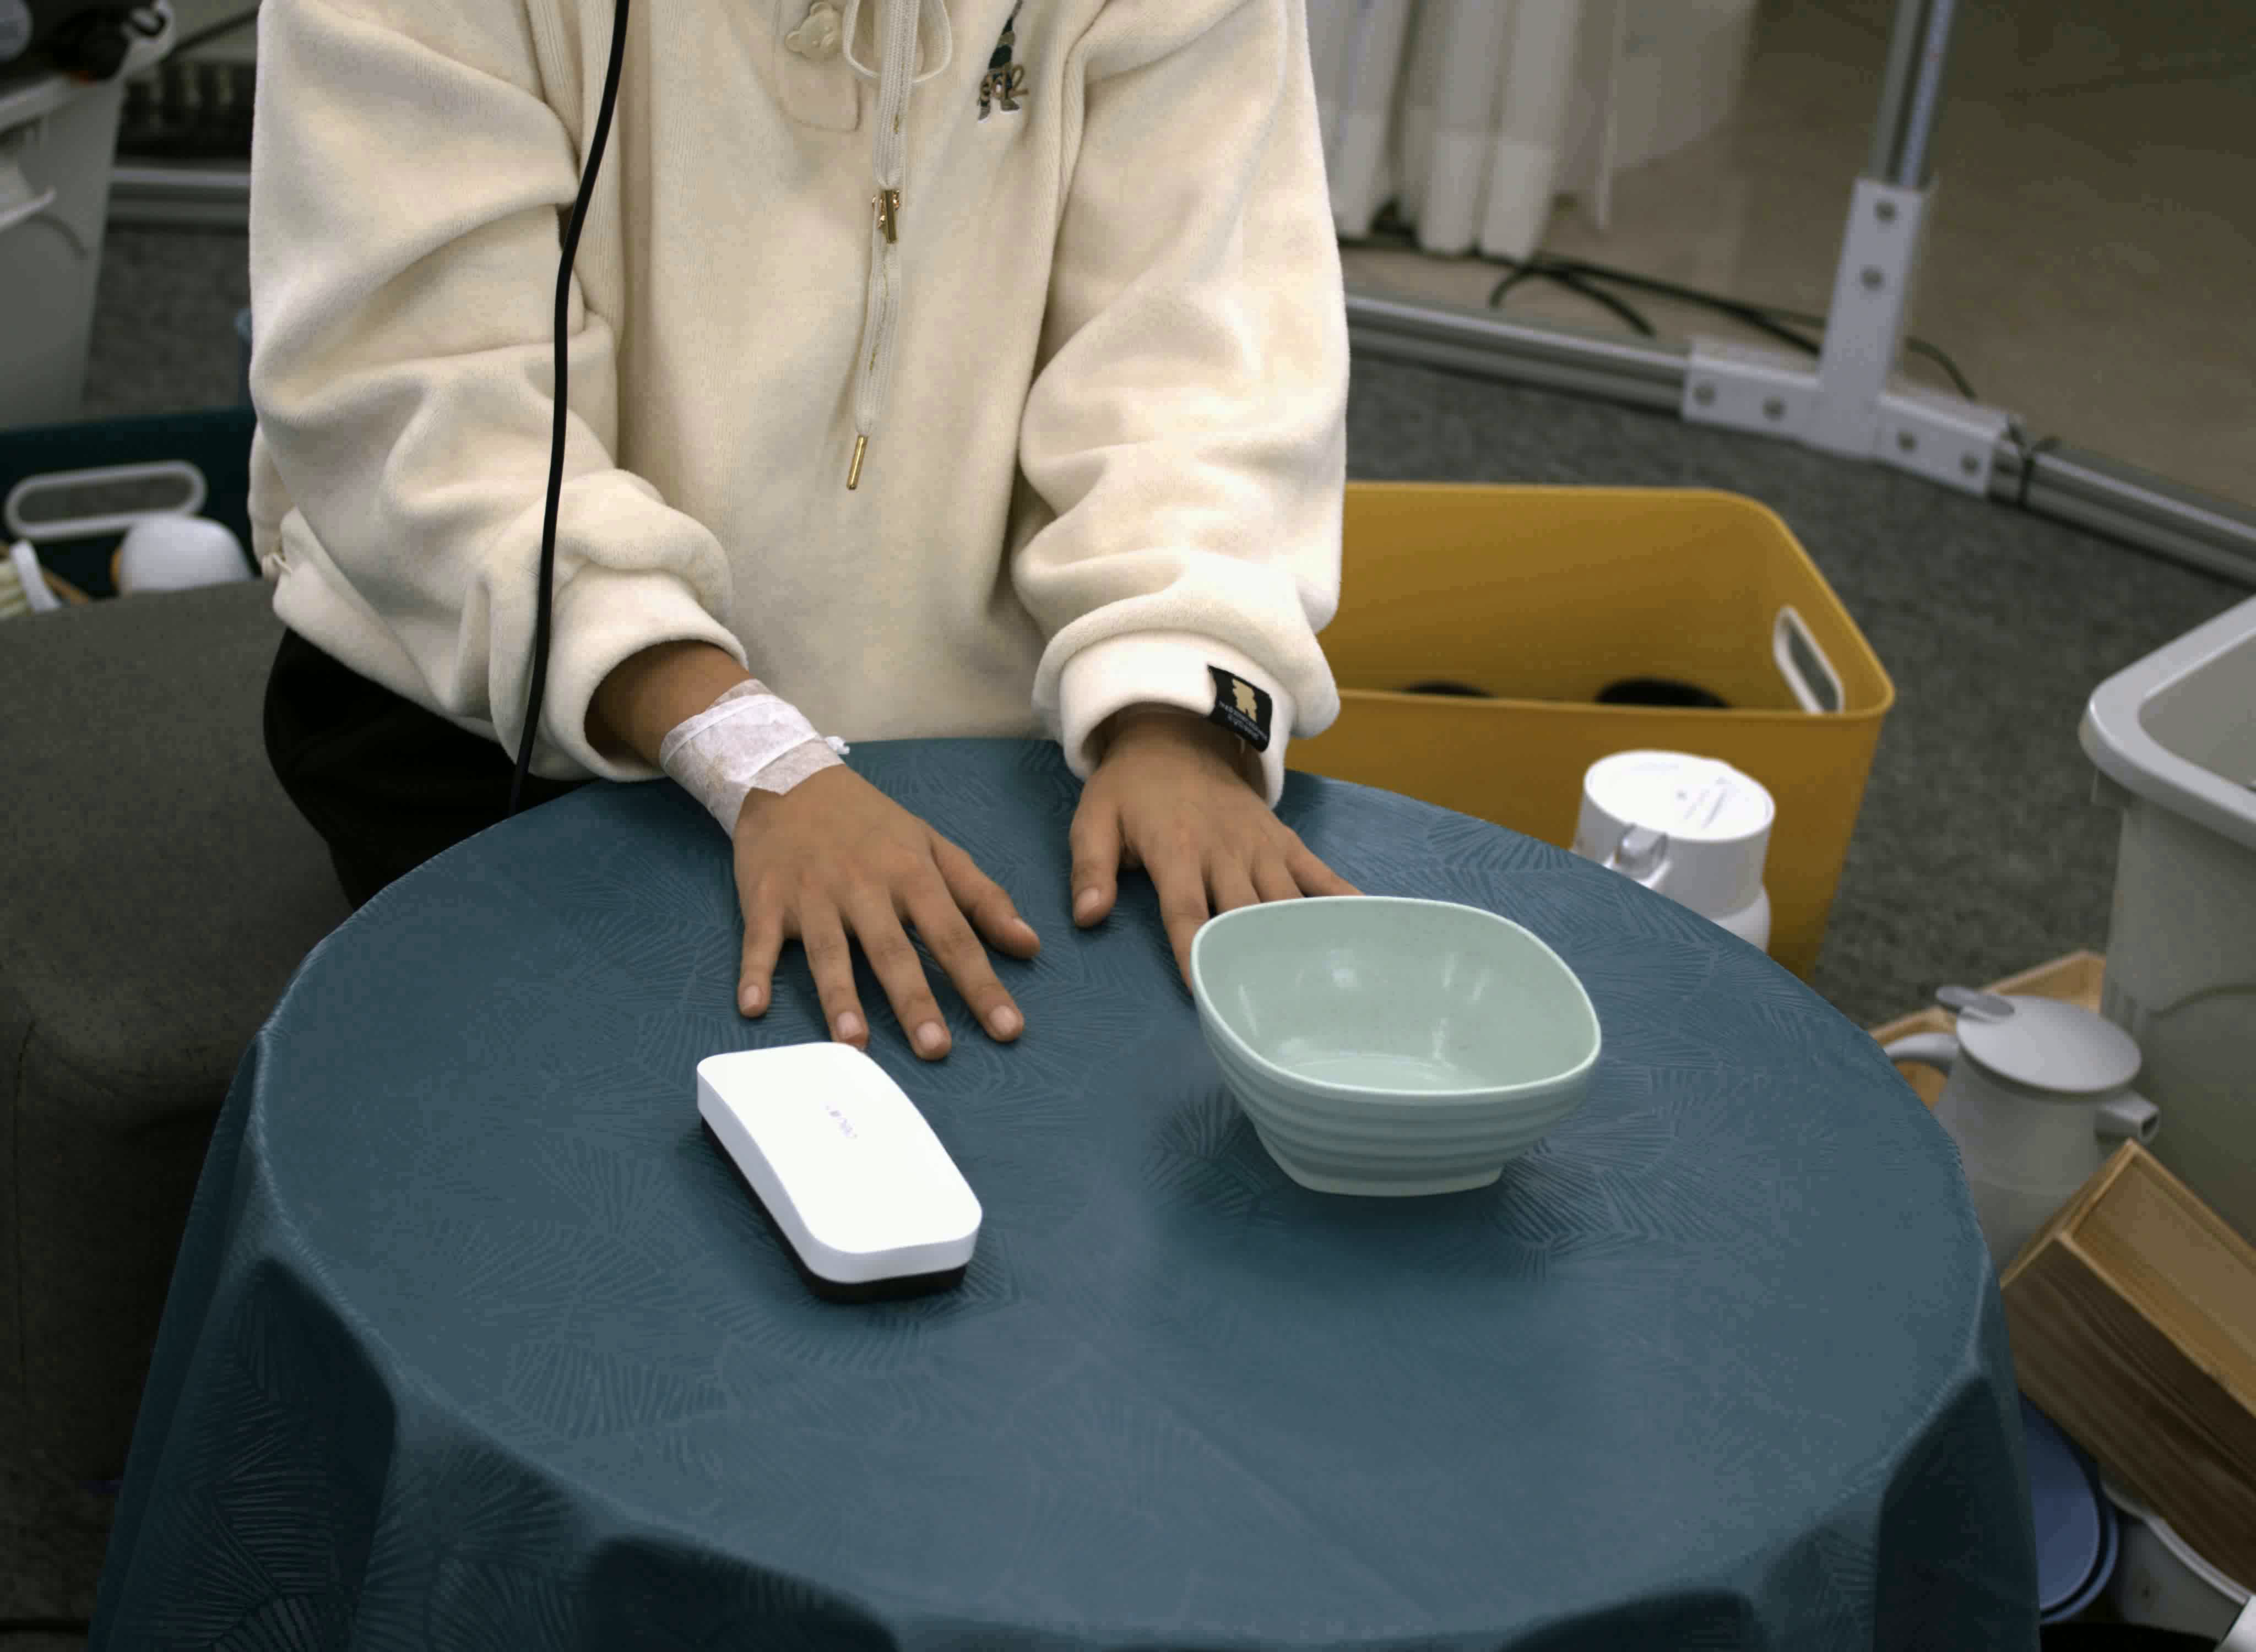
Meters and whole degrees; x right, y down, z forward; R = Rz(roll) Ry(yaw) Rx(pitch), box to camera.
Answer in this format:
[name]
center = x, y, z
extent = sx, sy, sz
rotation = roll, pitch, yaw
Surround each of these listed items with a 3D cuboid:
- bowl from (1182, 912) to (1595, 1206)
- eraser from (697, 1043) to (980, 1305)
[bowl]
center = 0.086, 0.086, 1.840
extent = 0.151, 0.058, 0.152
rotation = 6, 24, -3
[eraser]
center = -0.097, 0.112, 1.770
extent = 0.063, 0.034, 0.132
rotation = -6, 30, -23
